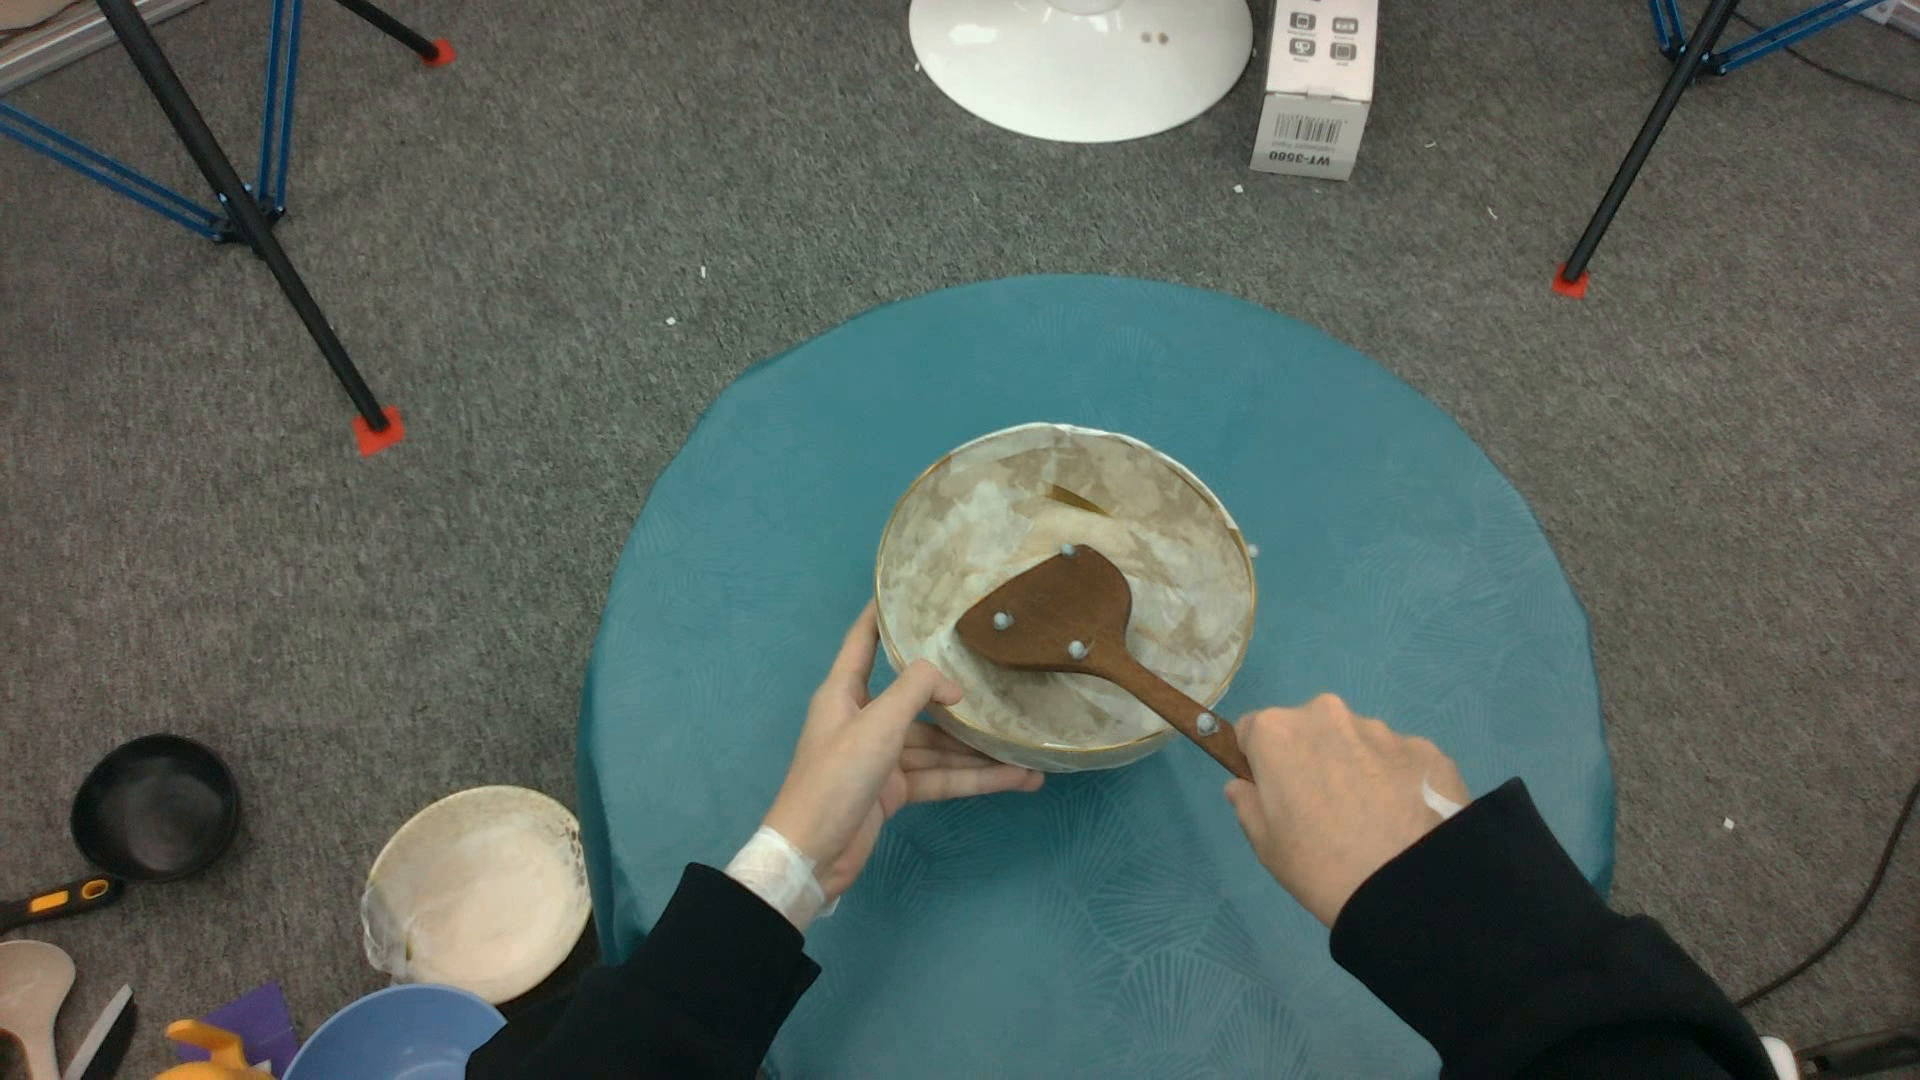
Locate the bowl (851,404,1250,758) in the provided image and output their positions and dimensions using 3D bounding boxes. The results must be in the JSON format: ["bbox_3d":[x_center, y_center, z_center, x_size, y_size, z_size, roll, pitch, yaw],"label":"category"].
[{"bbox_3d":[0.041,0.035,0.748,0.215,0.094,0.215,3,58,-5],"label":"bowl"}]

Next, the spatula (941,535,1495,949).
[{"bbox_3d":[0.101,0.076,0.637,0.096,0.016,0.386,-29,27,-14],"label":"spatula"}]
